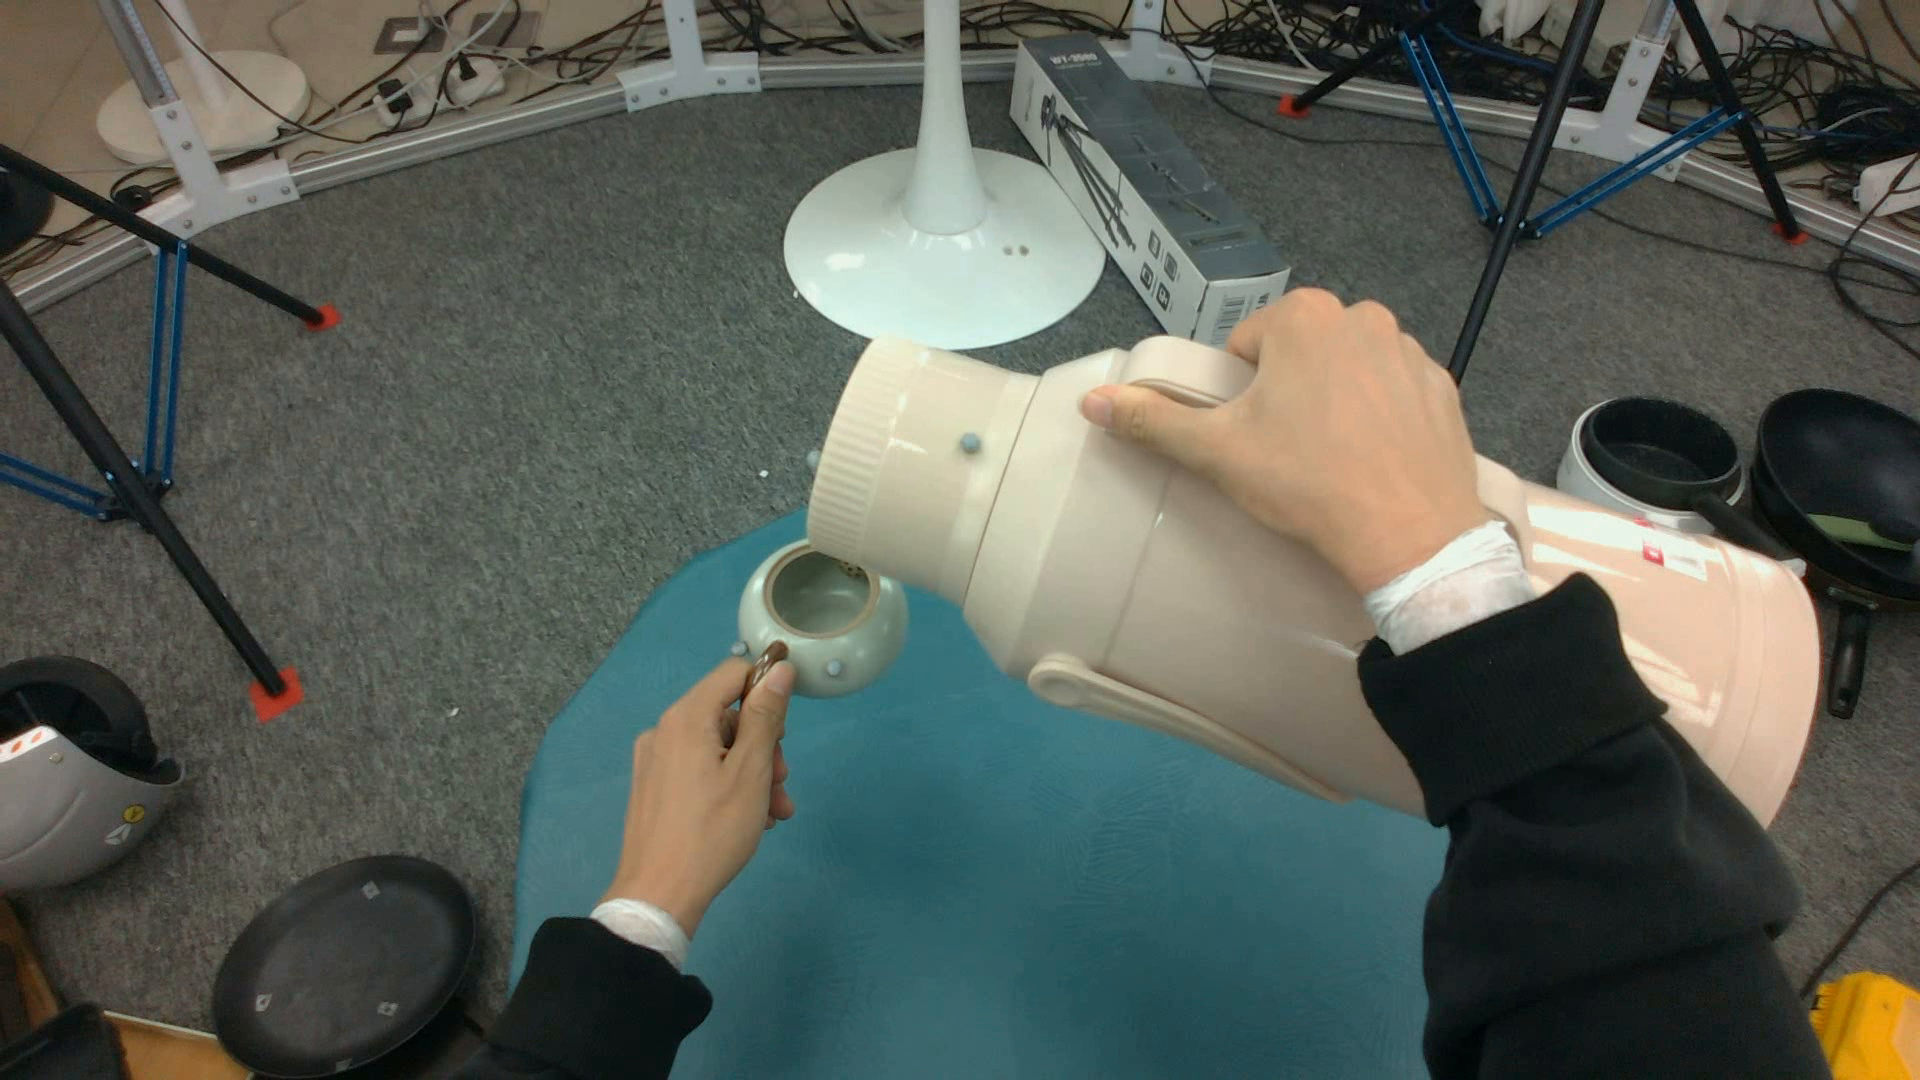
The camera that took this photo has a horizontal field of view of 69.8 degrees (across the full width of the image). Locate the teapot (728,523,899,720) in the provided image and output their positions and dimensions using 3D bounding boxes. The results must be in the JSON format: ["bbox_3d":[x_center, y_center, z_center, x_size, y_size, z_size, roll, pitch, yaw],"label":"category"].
[{"bbox_3d":[-0.083,0.042,0.738,0.092,0.059,0.128,25,57,12],"label":"teapot"}]

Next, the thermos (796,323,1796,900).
[{"bbox_3d":[0.135,0.010,0.604,0.406,0.206,0.176,20,55,4],"label":"thermos"}]
